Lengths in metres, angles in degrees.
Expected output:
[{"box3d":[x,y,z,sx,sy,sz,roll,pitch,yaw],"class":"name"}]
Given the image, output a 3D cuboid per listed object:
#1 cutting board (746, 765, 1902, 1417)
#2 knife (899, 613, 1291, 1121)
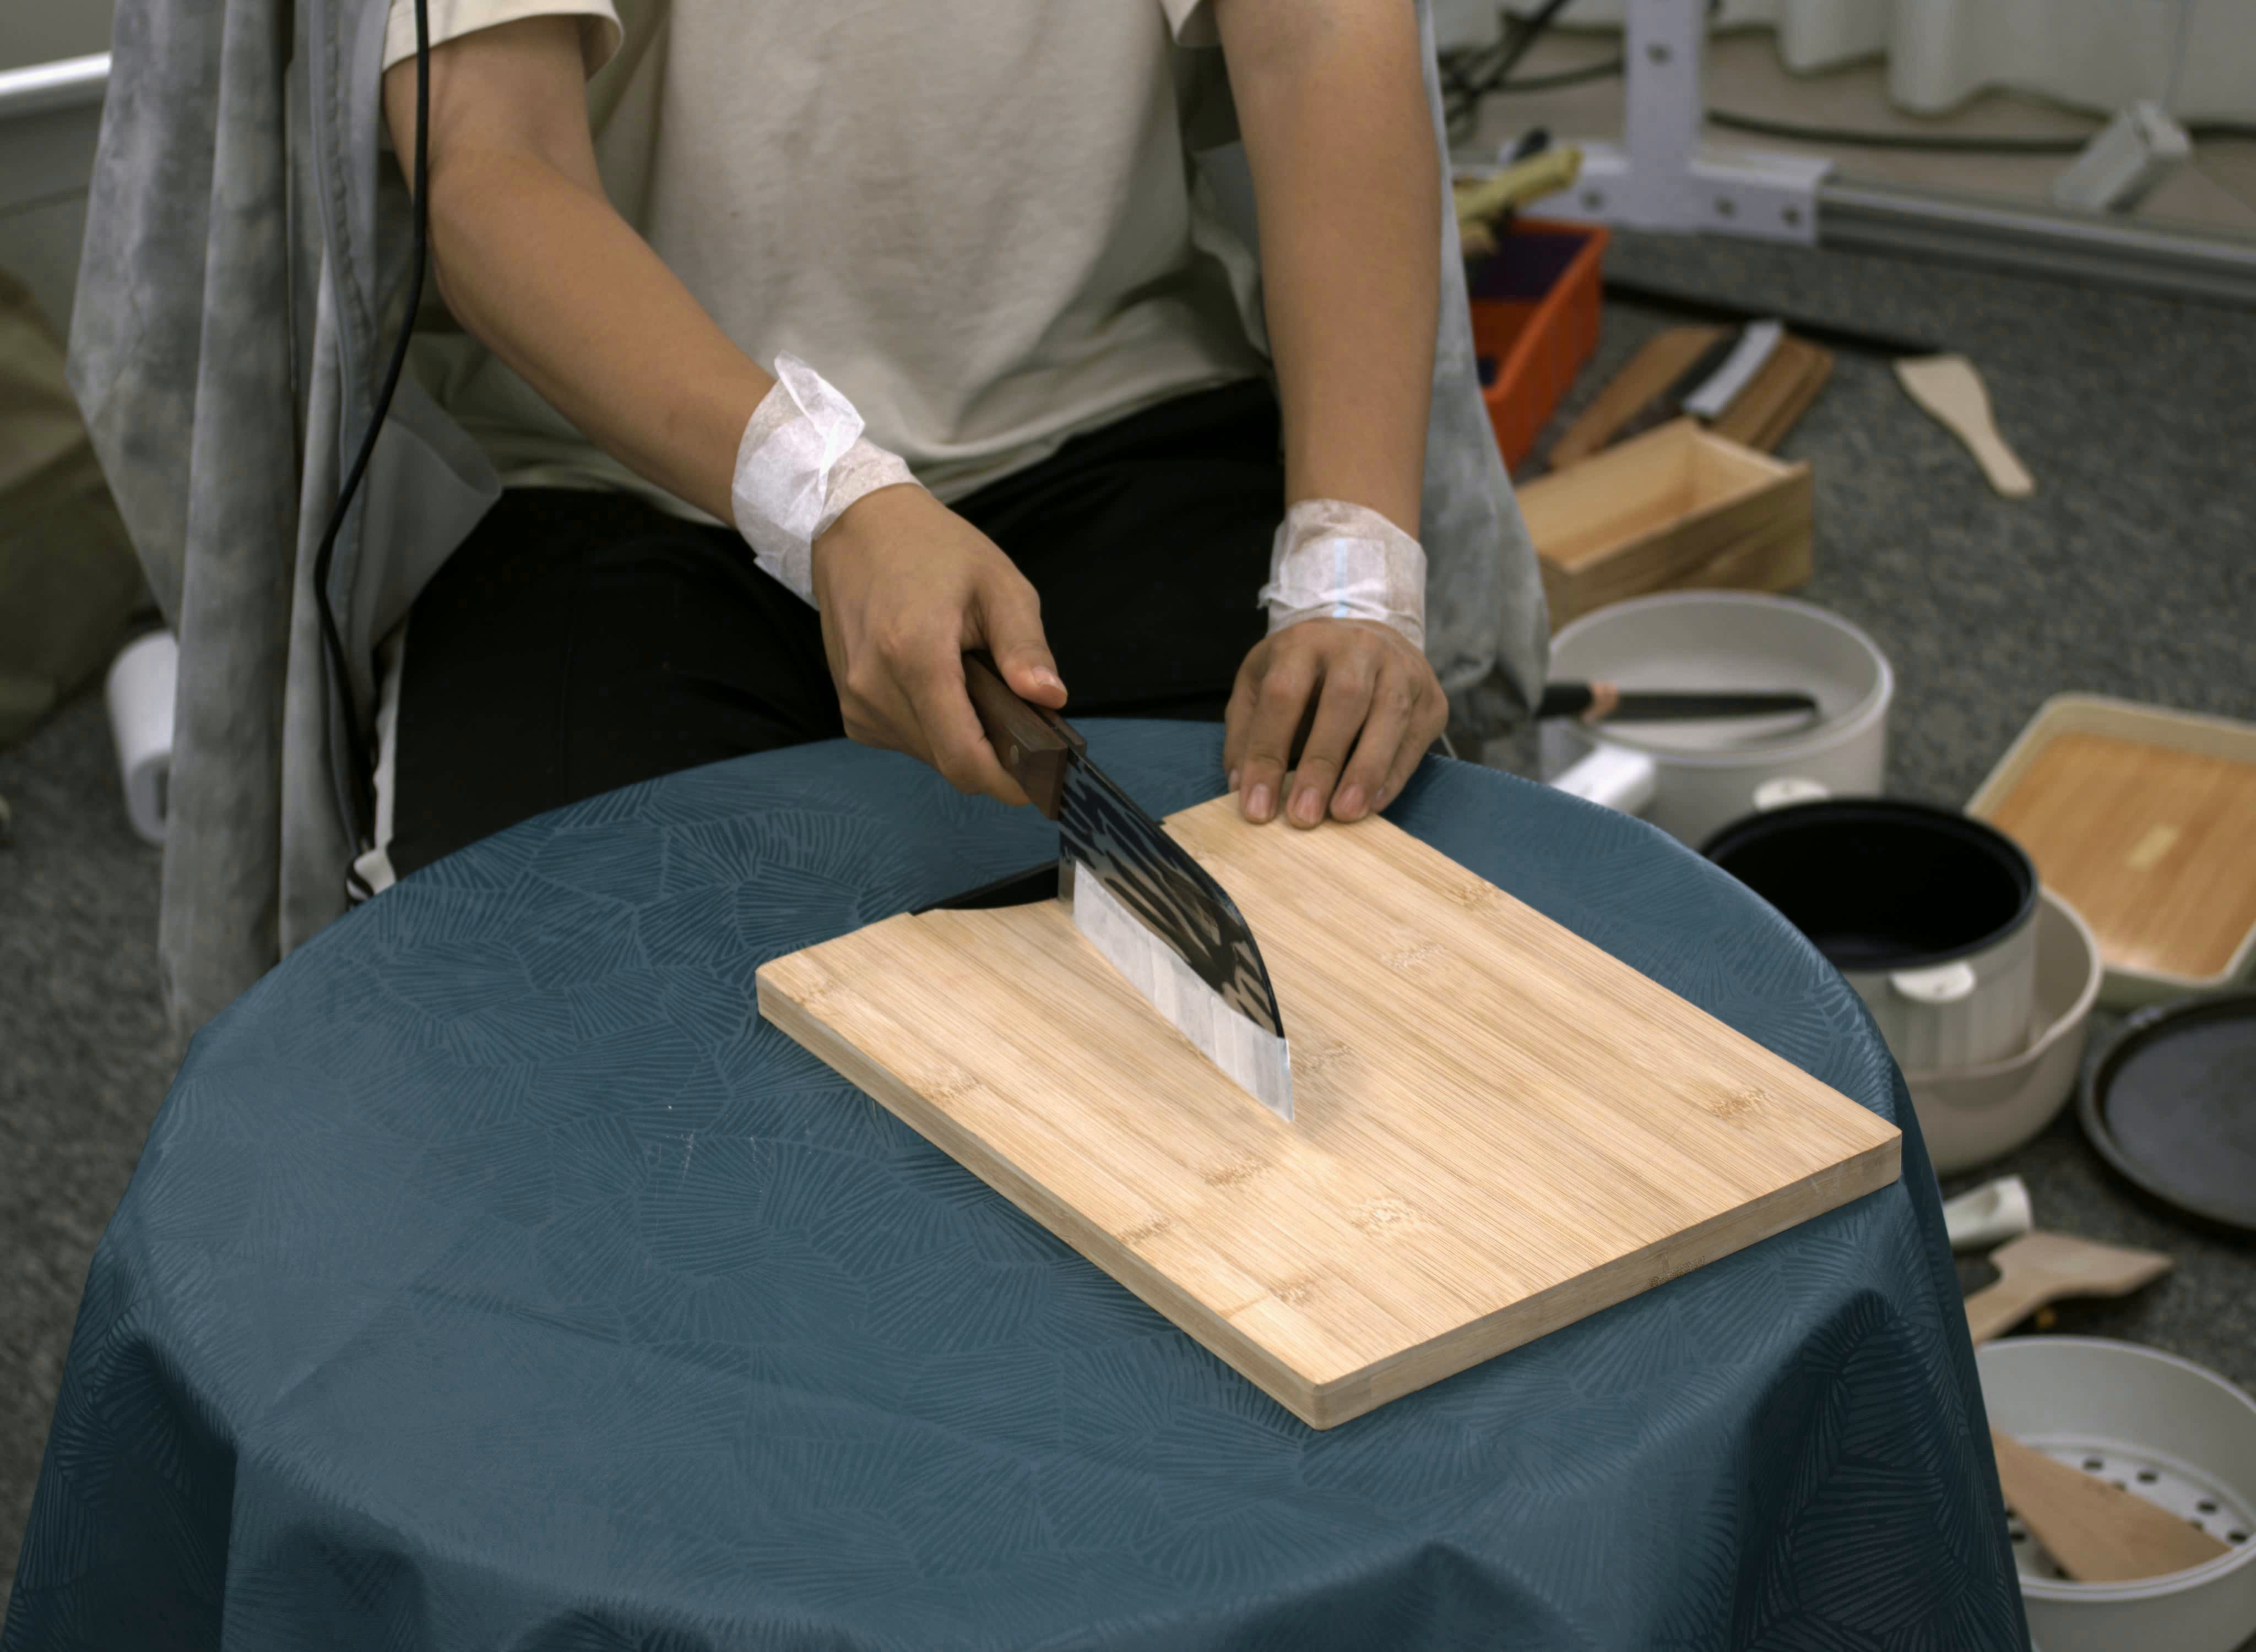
[{"box3d":[0.059,0.082,1.914,0.253,0.023,0.349,-20,31,-30],"class":"cutting board"},{"box3d":[-0.011,0.011,1.955,0.024,0.067,0.301,-9,30,-25],"class":"knife"}]
